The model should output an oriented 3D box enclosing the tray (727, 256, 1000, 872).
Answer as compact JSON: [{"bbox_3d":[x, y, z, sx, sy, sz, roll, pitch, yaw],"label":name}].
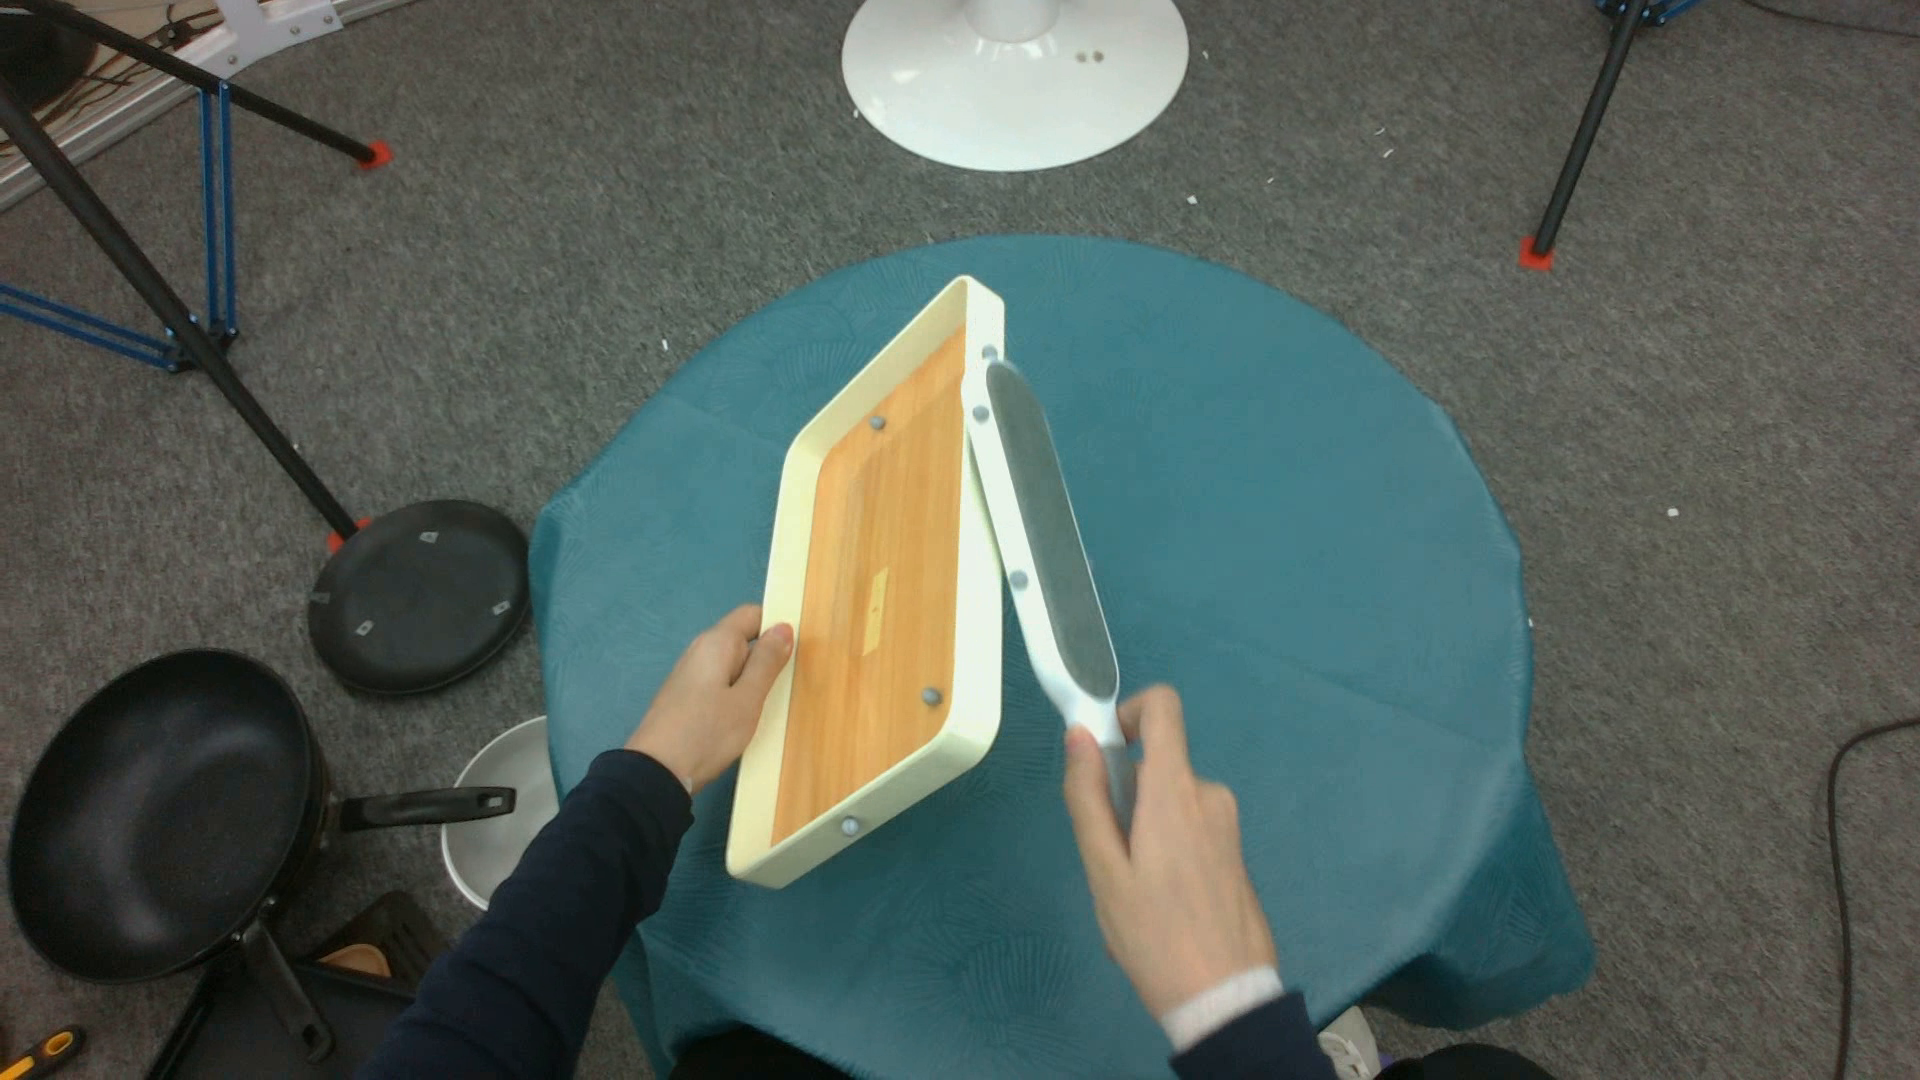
[{"bbox_3d":[-0.047,0.005,0.719,0.027,0.190,0.301,26,45,-28],"label":"tray"}]

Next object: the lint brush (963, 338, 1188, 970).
[{"bbox_3d":[0.051,0.041,0.633,0.021,0.060,0.309,-25,66,25],"label":"lint brush"}]
